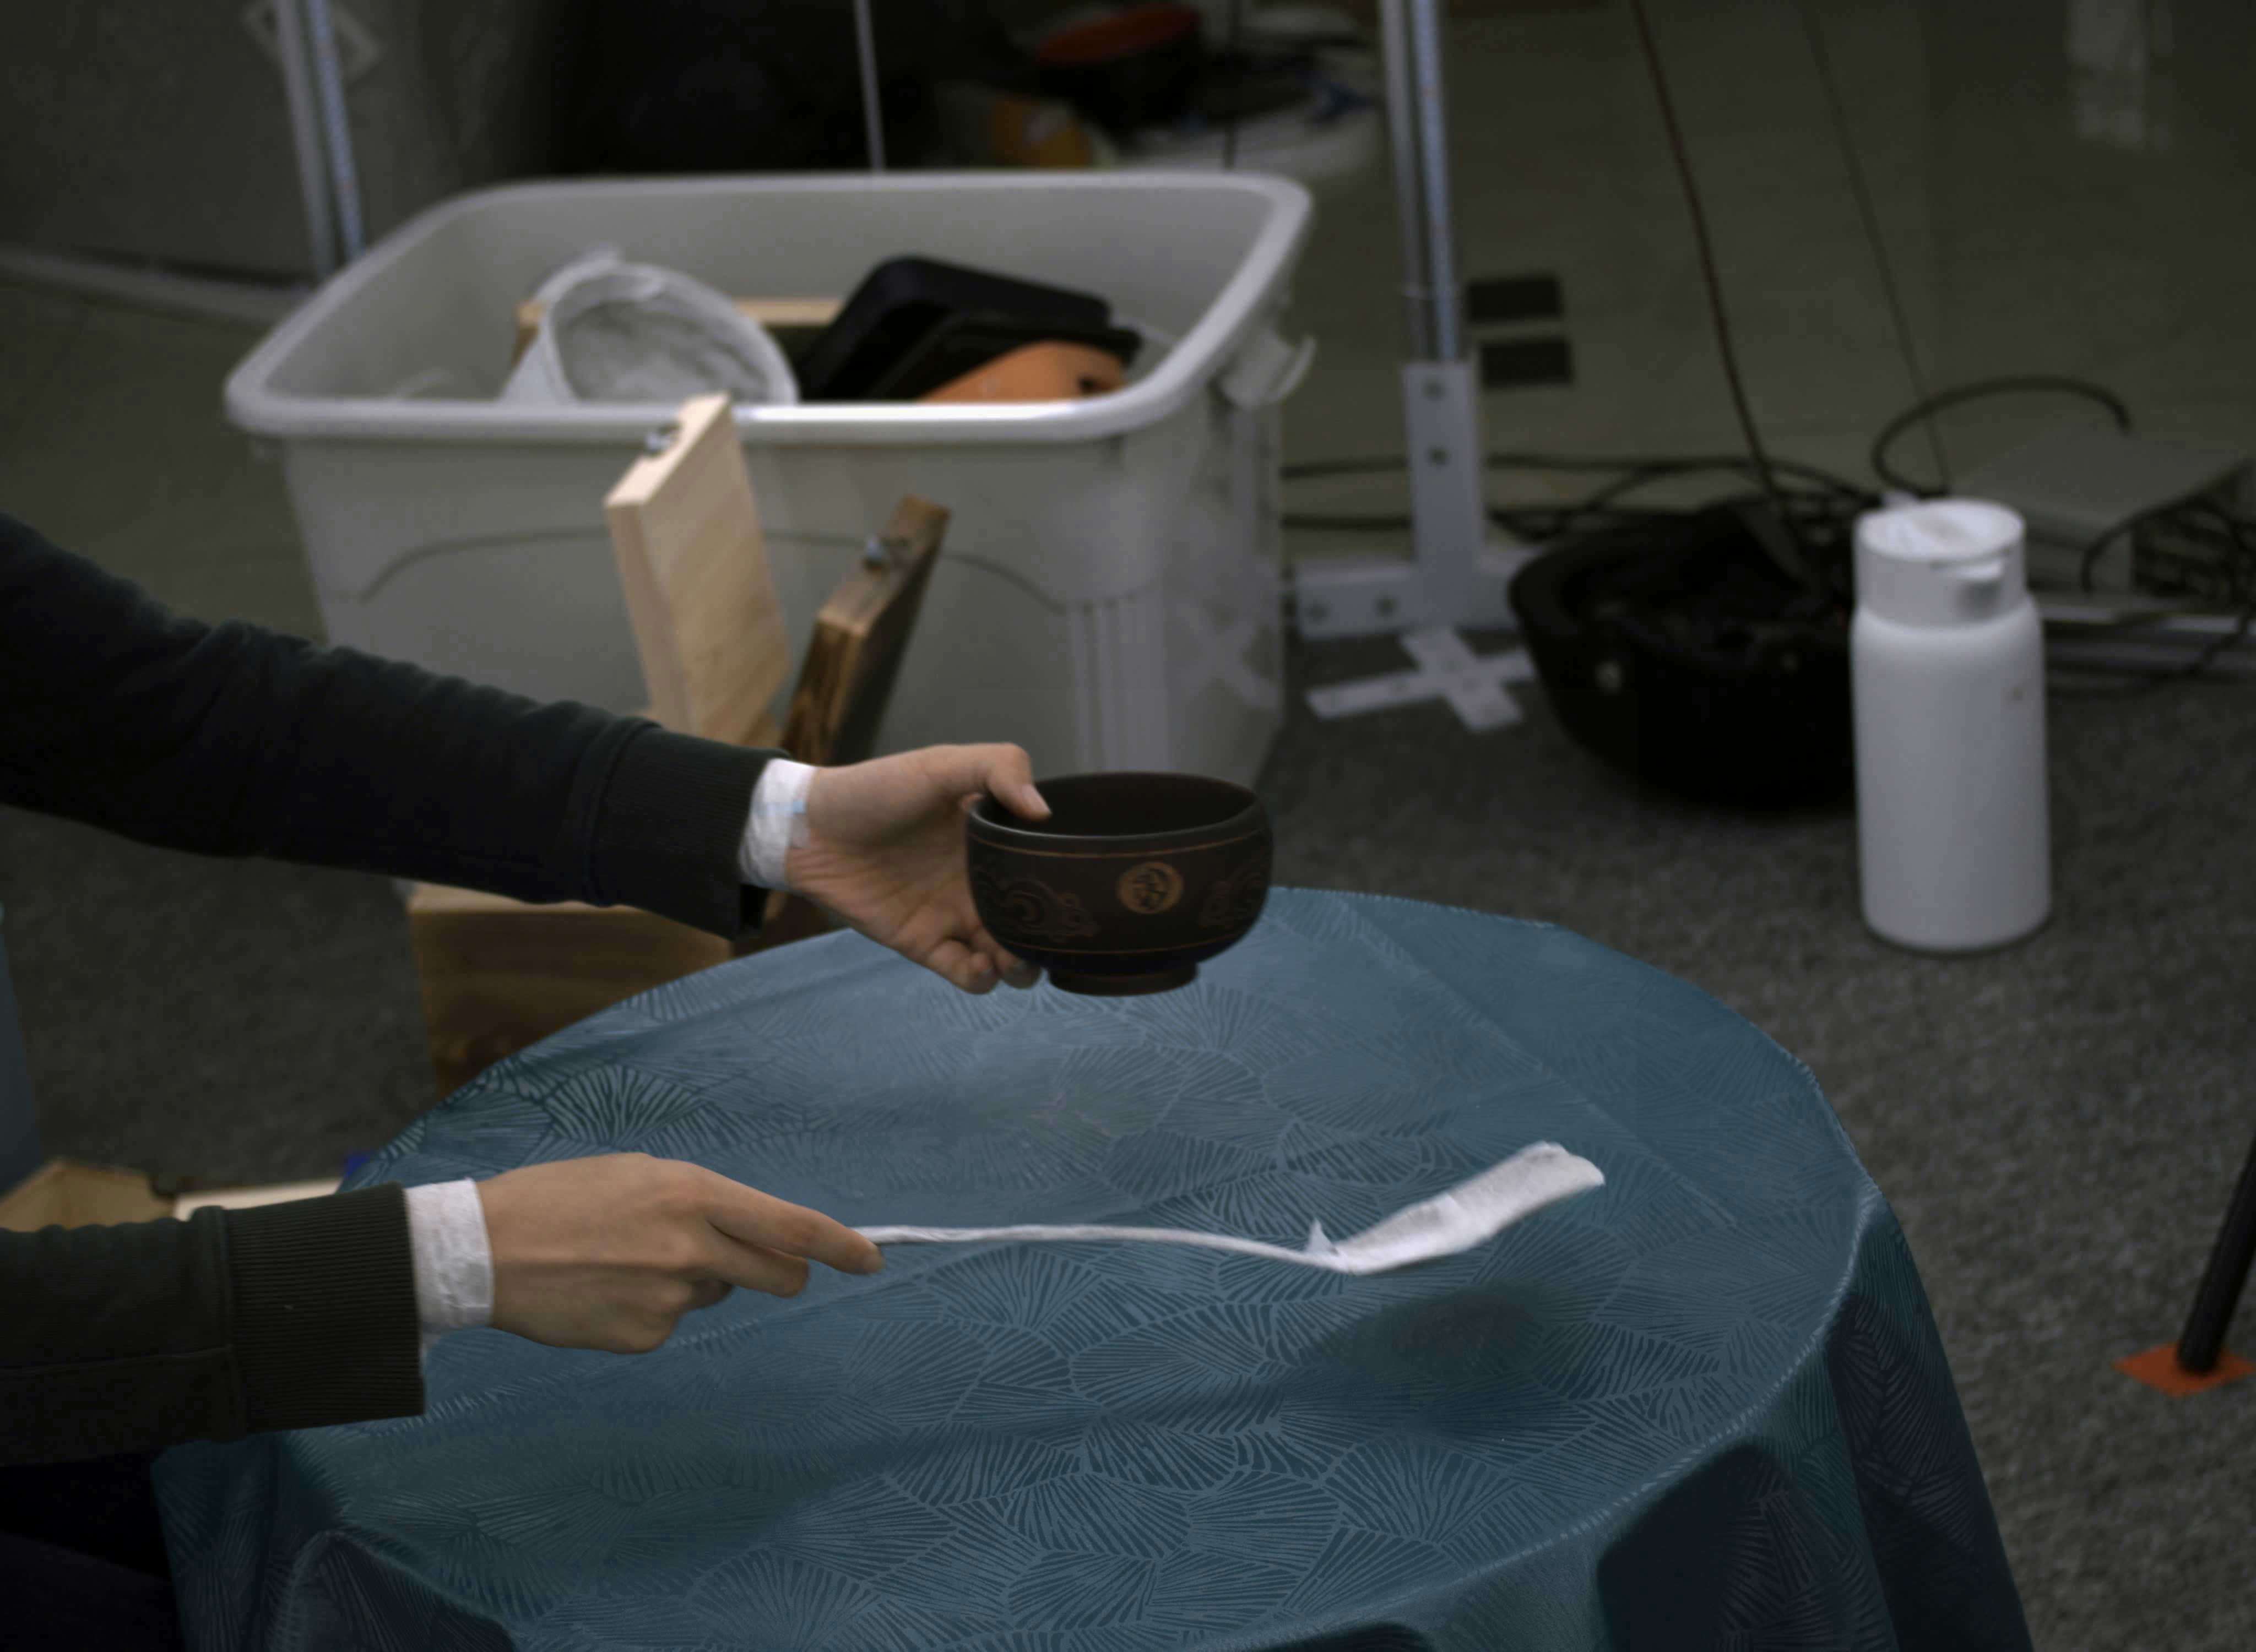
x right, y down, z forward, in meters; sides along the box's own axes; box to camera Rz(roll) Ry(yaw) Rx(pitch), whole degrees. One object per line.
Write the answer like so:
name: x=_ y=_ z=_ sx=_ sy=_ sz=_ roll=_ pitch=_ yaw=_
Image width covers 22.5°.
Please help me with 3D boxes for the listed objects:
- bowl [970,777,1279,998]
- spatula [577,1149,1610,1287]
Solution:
bowl: x=-0.001 y=0.026 z=2.148 sx=0.118 sy=0.070 sz=0.117 roll=-2 pitch=11 yaw=1
spatula: x=-0.012 y=0.141 z=1.998 sx=0.364 sy=0.045 sz=0.098 roll=0 pitch=7 yaw=-5
